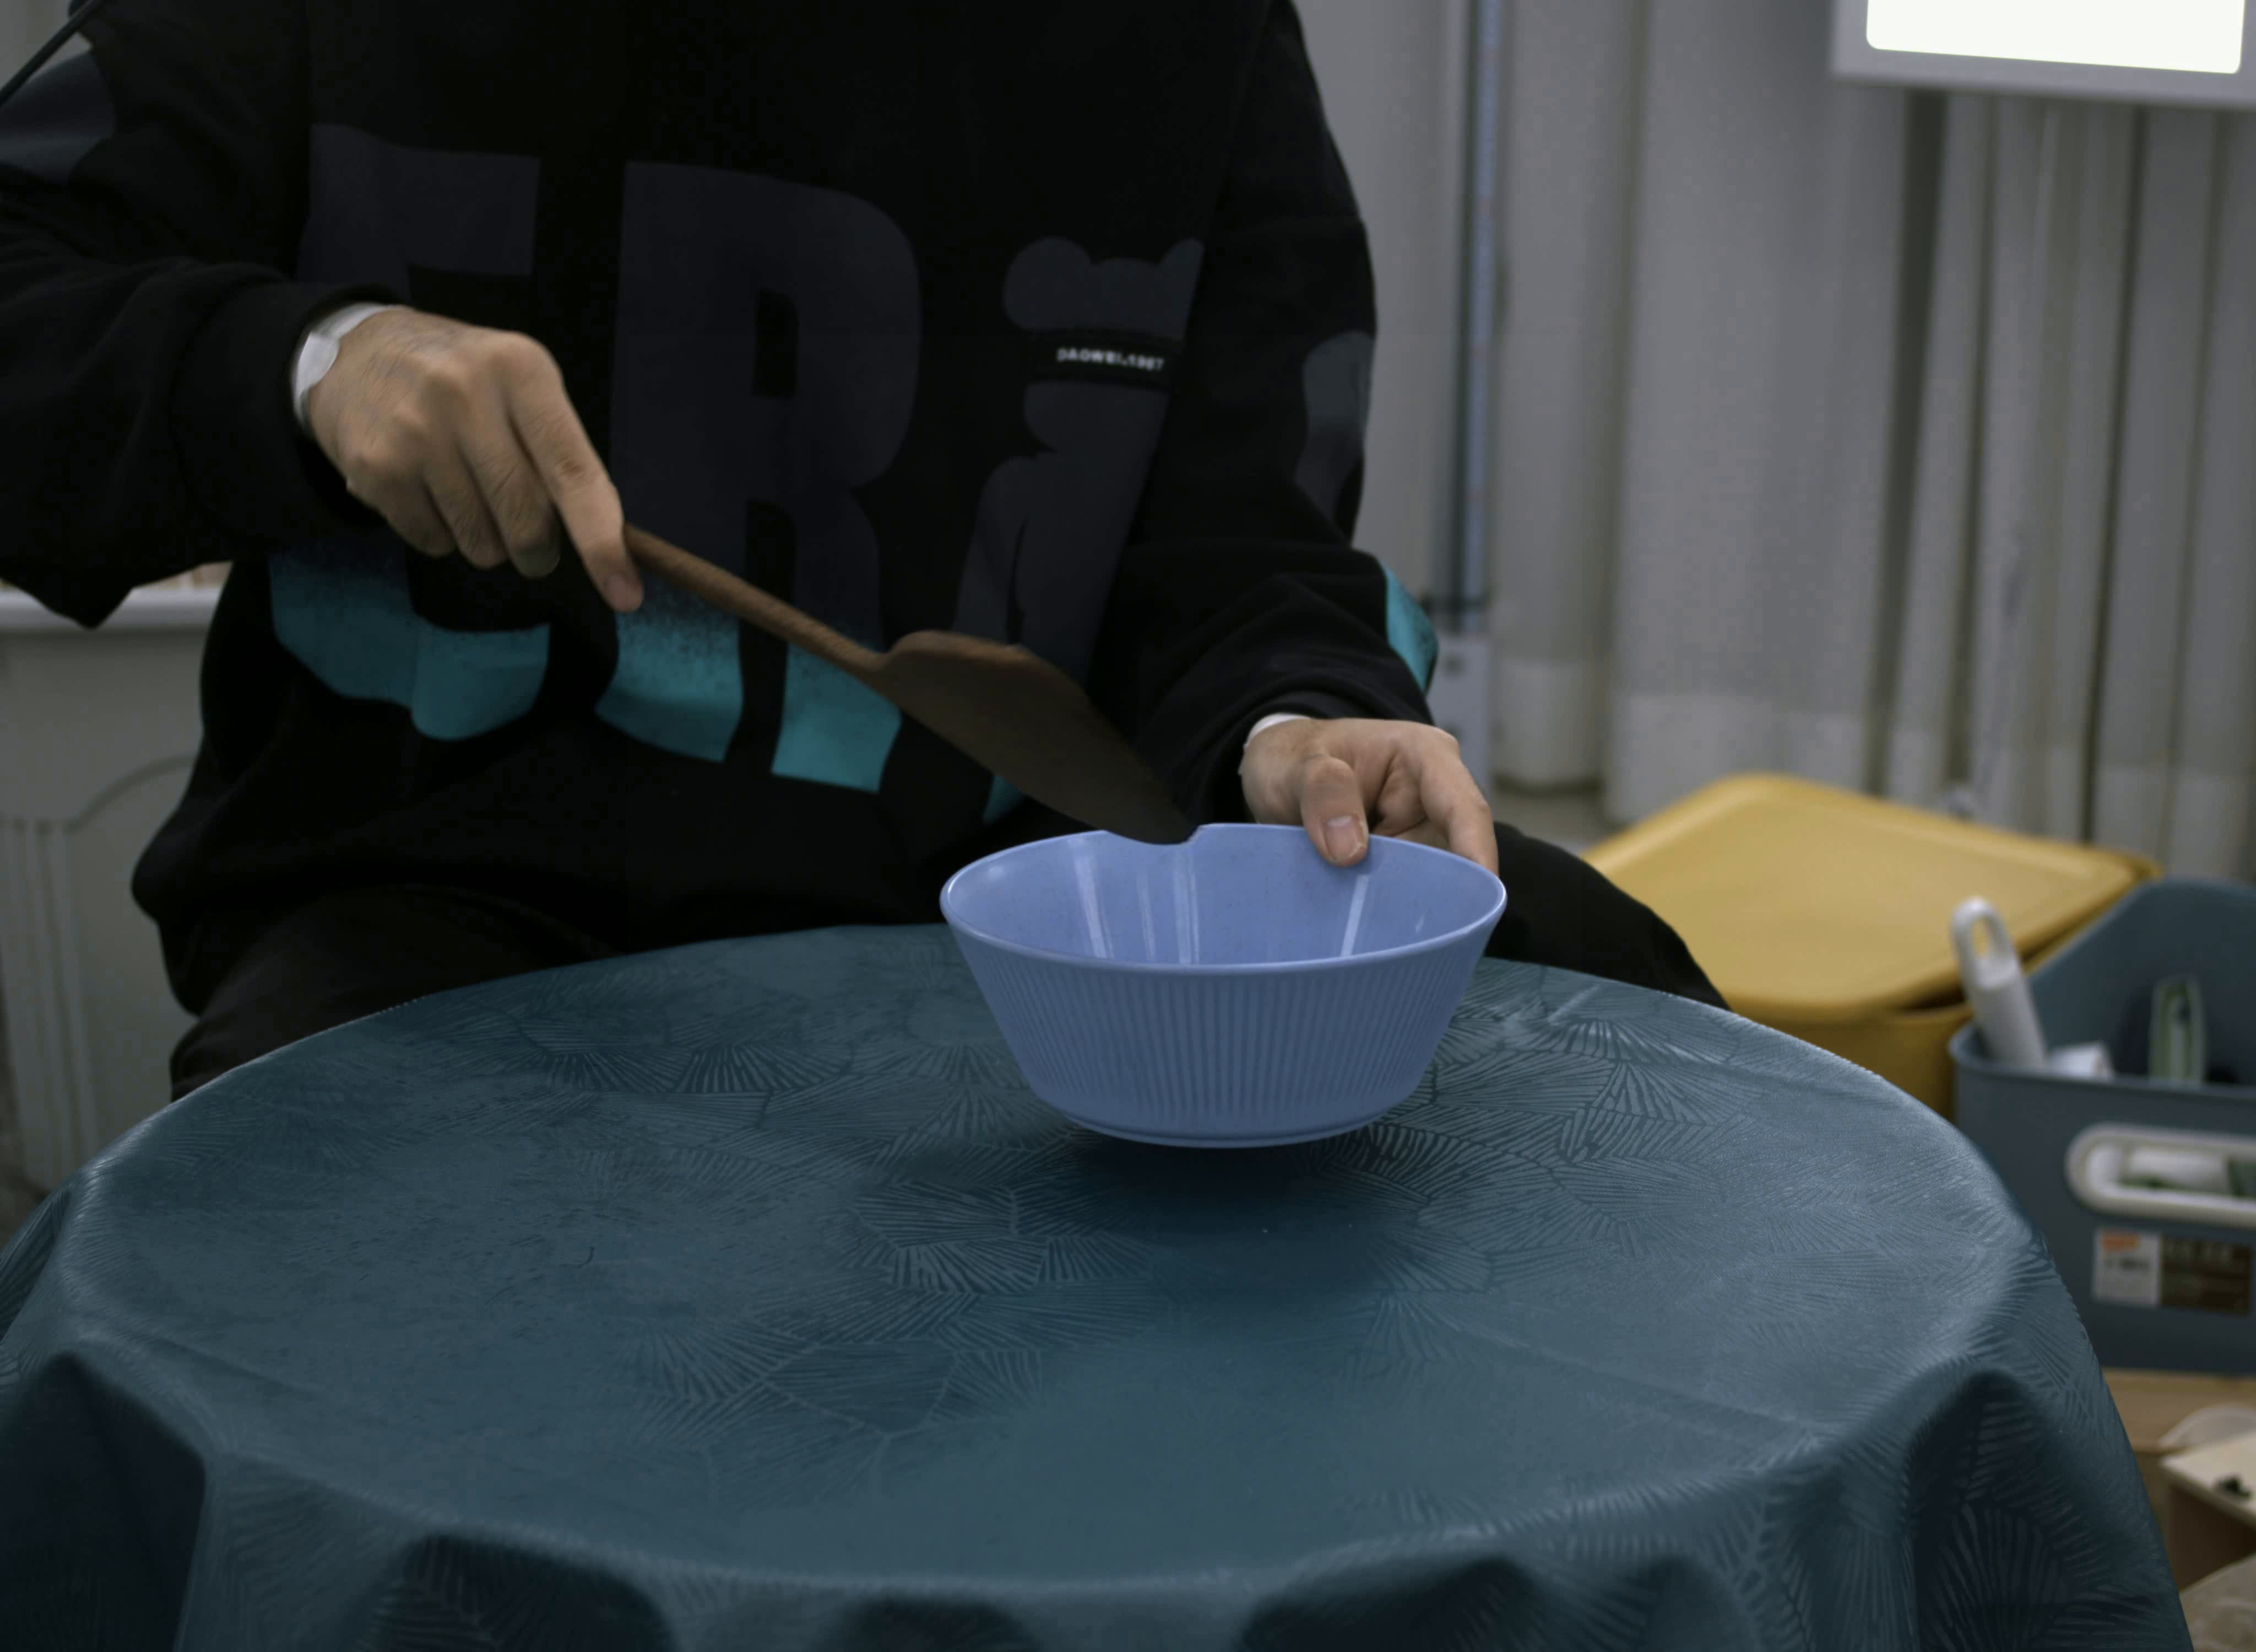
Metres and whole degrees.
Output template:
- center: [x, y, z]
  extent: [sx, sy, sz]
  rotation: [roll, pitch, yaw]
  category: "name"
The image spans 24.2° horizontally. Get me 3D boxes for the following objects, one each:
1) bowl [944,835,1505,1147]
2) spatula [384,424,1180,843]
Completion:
- center: [0.030, 0.053, 1.642]
  extent: [0.175, 0.071, 0.175]
  rotation: [0, 13, 1]
  category: "bowl"
- center: [-0.123, -0.071, 1.638]
  extent: [0.380, 0.016, 0.097]
  rotation: [26, -14, 45]
  category: "spatula"
